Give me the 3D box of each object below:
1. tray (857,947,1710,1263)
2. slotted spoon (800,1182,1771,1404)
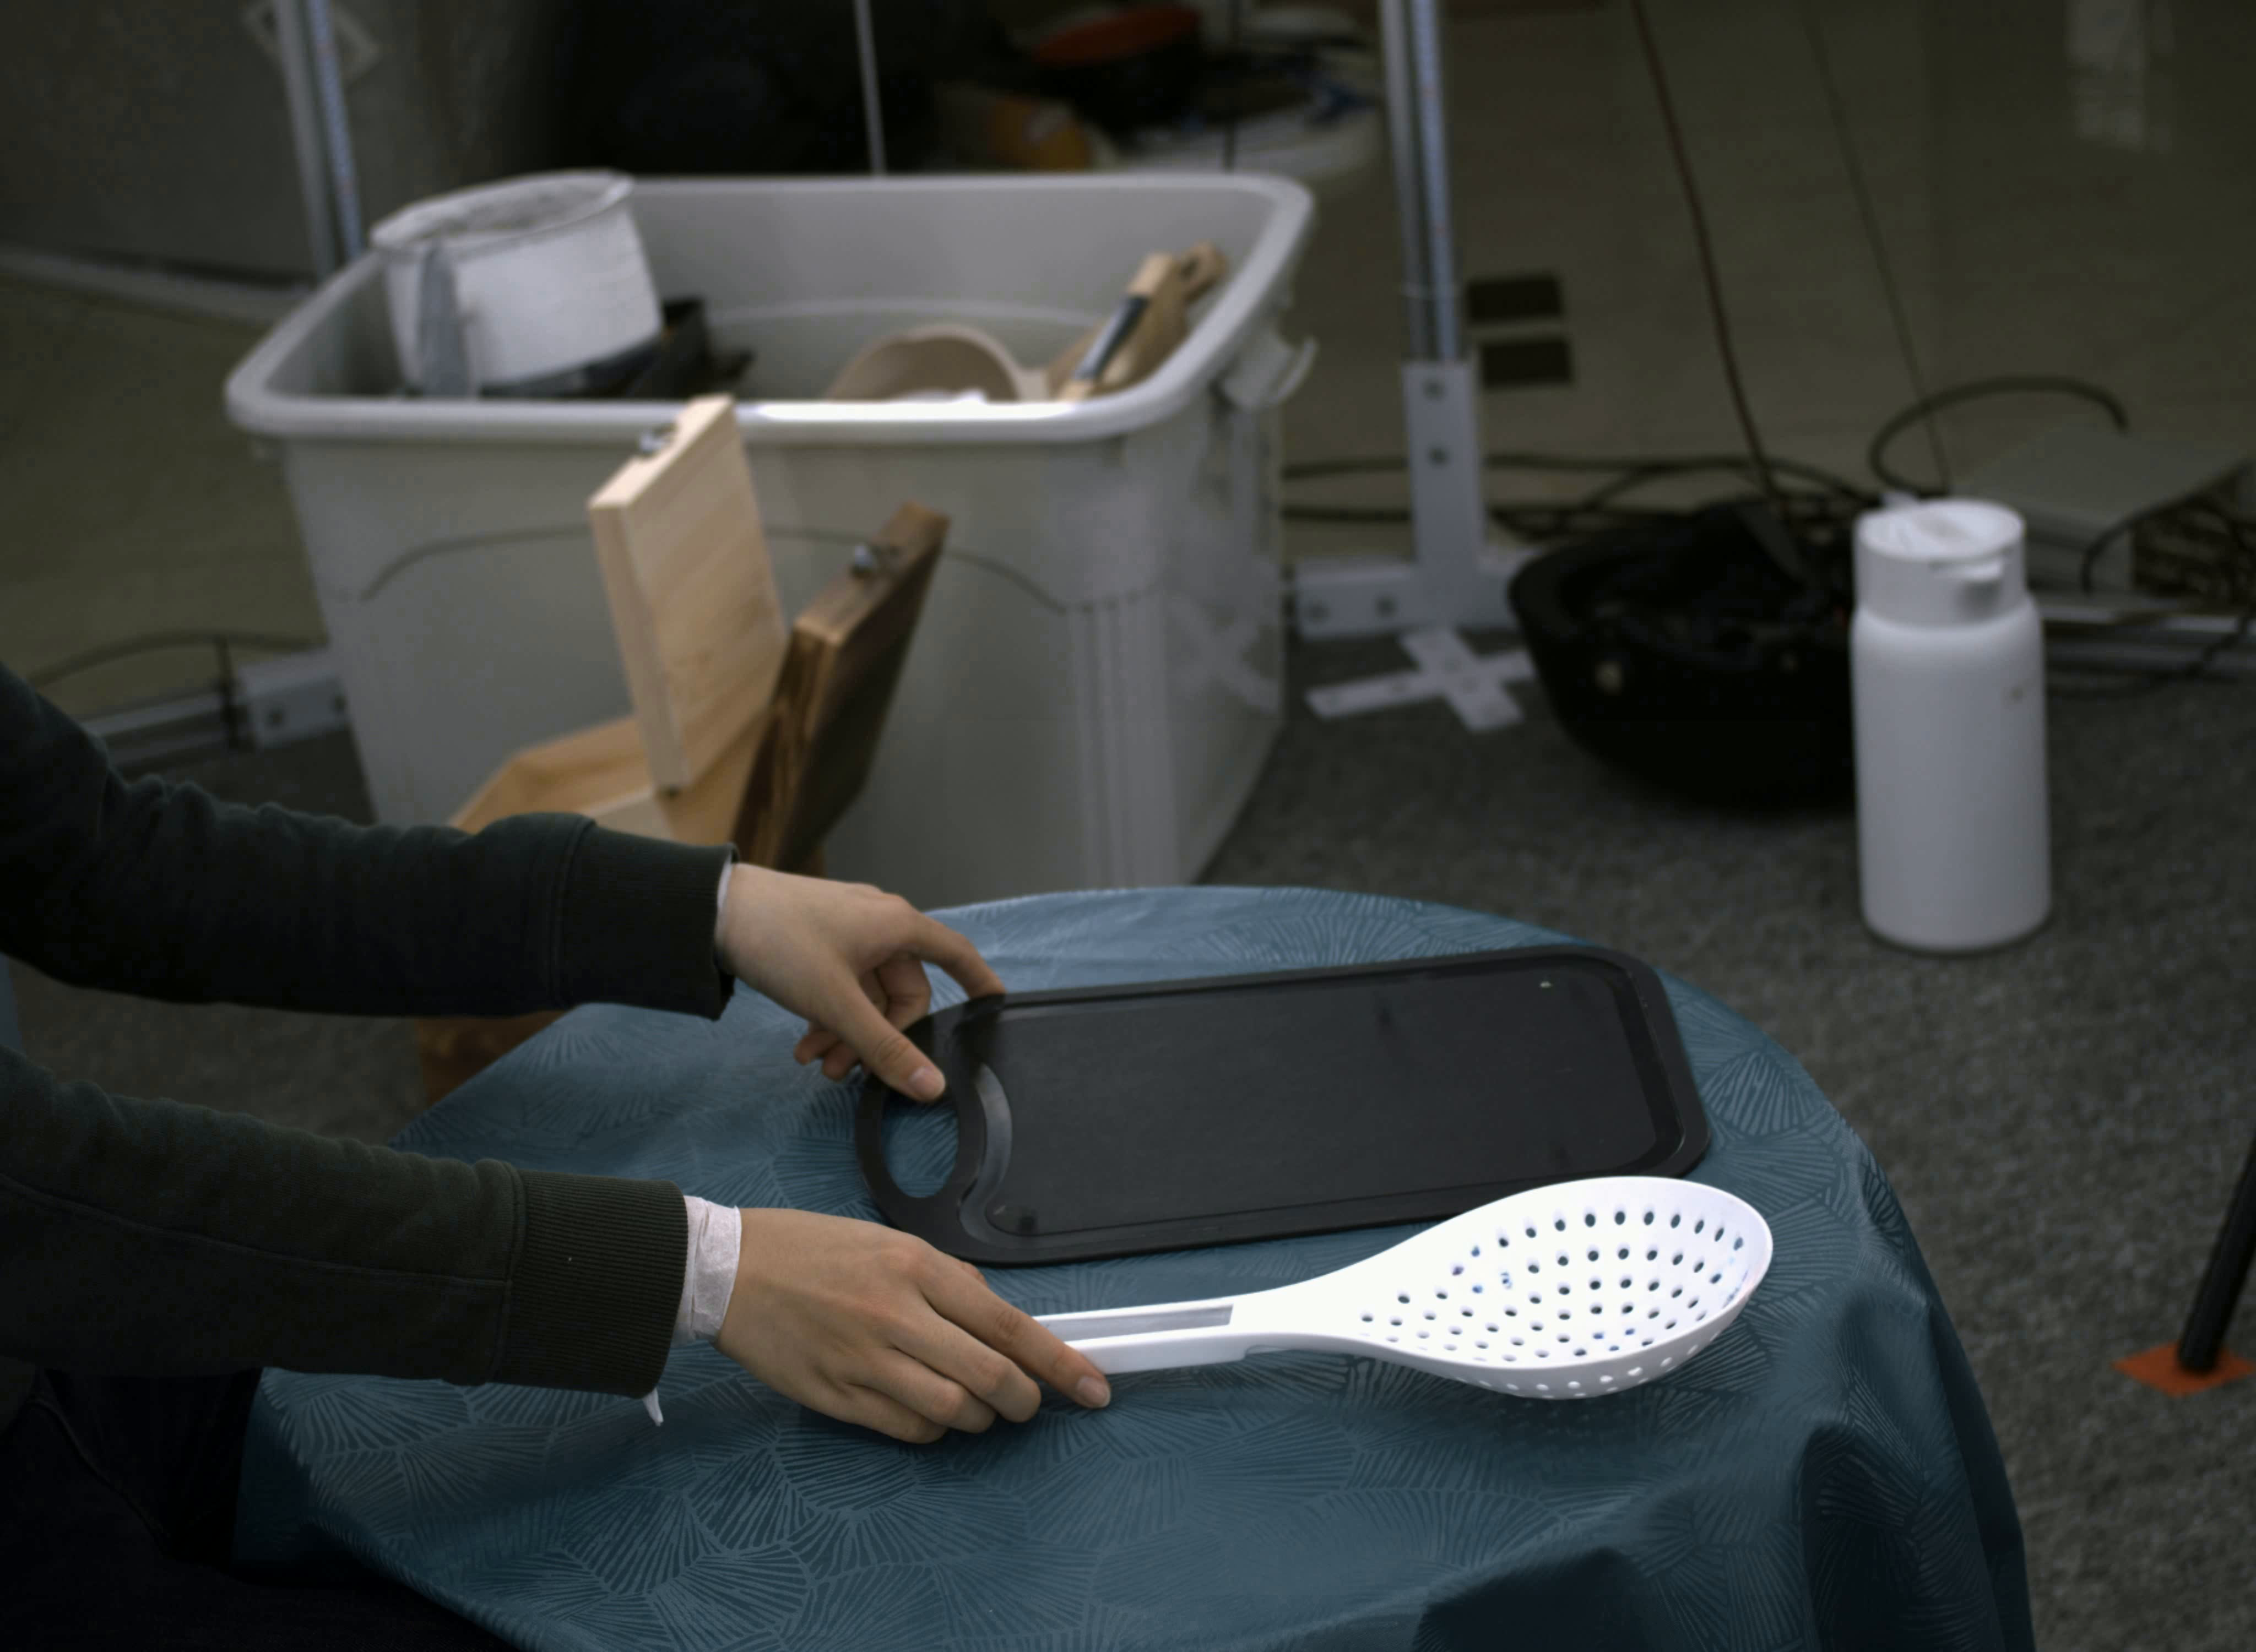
[{"bbox_3d":[0.056,0.106,2.198,0.325,0.010,0.208,-6,26,0],"label":"tray"},{"bbox_3d":[0.053,0.176,2.007,0.349,0.046,0.134,-3,23,10],"label":"slotted spoon"}]
